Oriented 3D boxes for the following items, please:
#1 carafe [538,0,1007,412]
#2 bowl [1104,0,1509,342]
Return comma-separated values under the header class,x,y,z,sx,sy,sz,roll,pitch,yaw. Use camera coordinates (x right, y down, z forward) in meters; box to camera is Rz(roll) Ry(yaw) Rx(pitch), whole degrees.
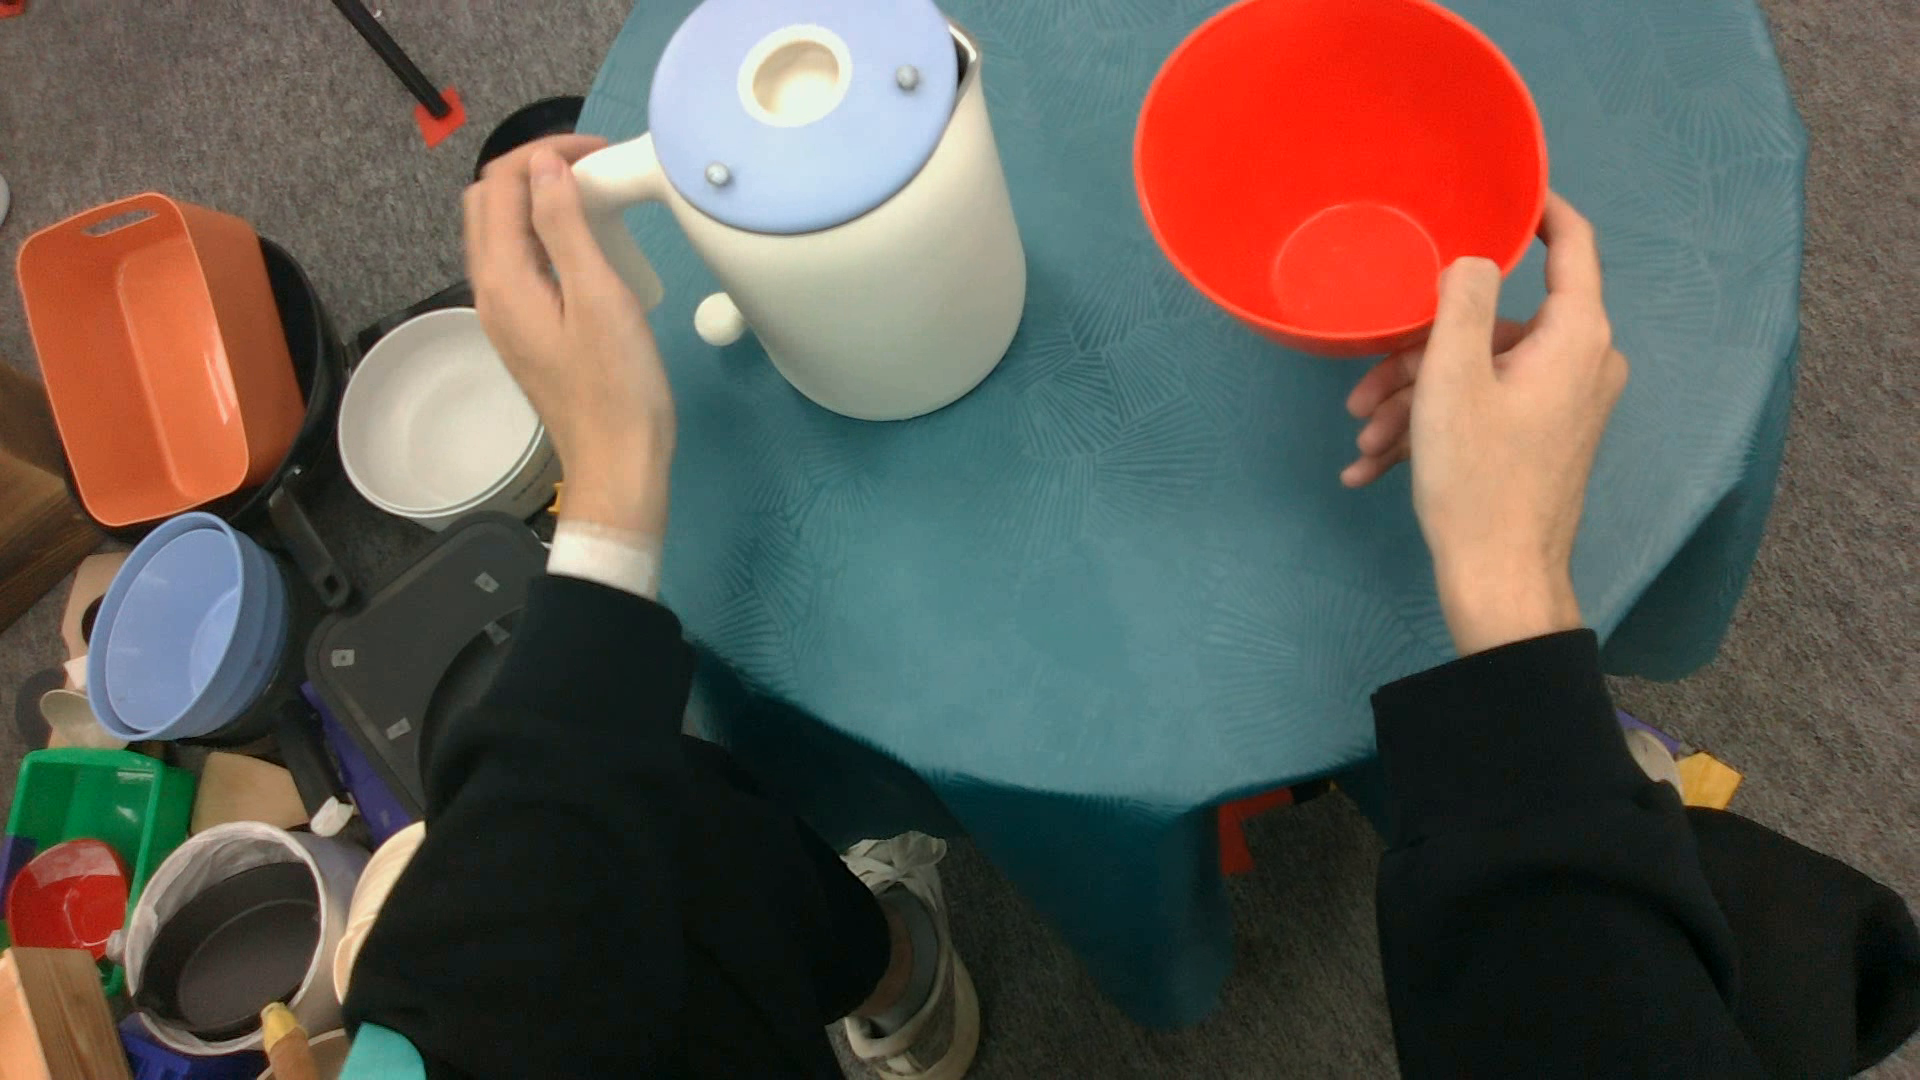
class,x,y,z,sx,sy,sz,roll,pitch,yaw
carafe,-0.078,-0.140,0.593,0.191,0.182,0.132,-14,69,7
bowl,0.138,-0.137,0.552,0.148,0.104,0.148,-4,71,12
